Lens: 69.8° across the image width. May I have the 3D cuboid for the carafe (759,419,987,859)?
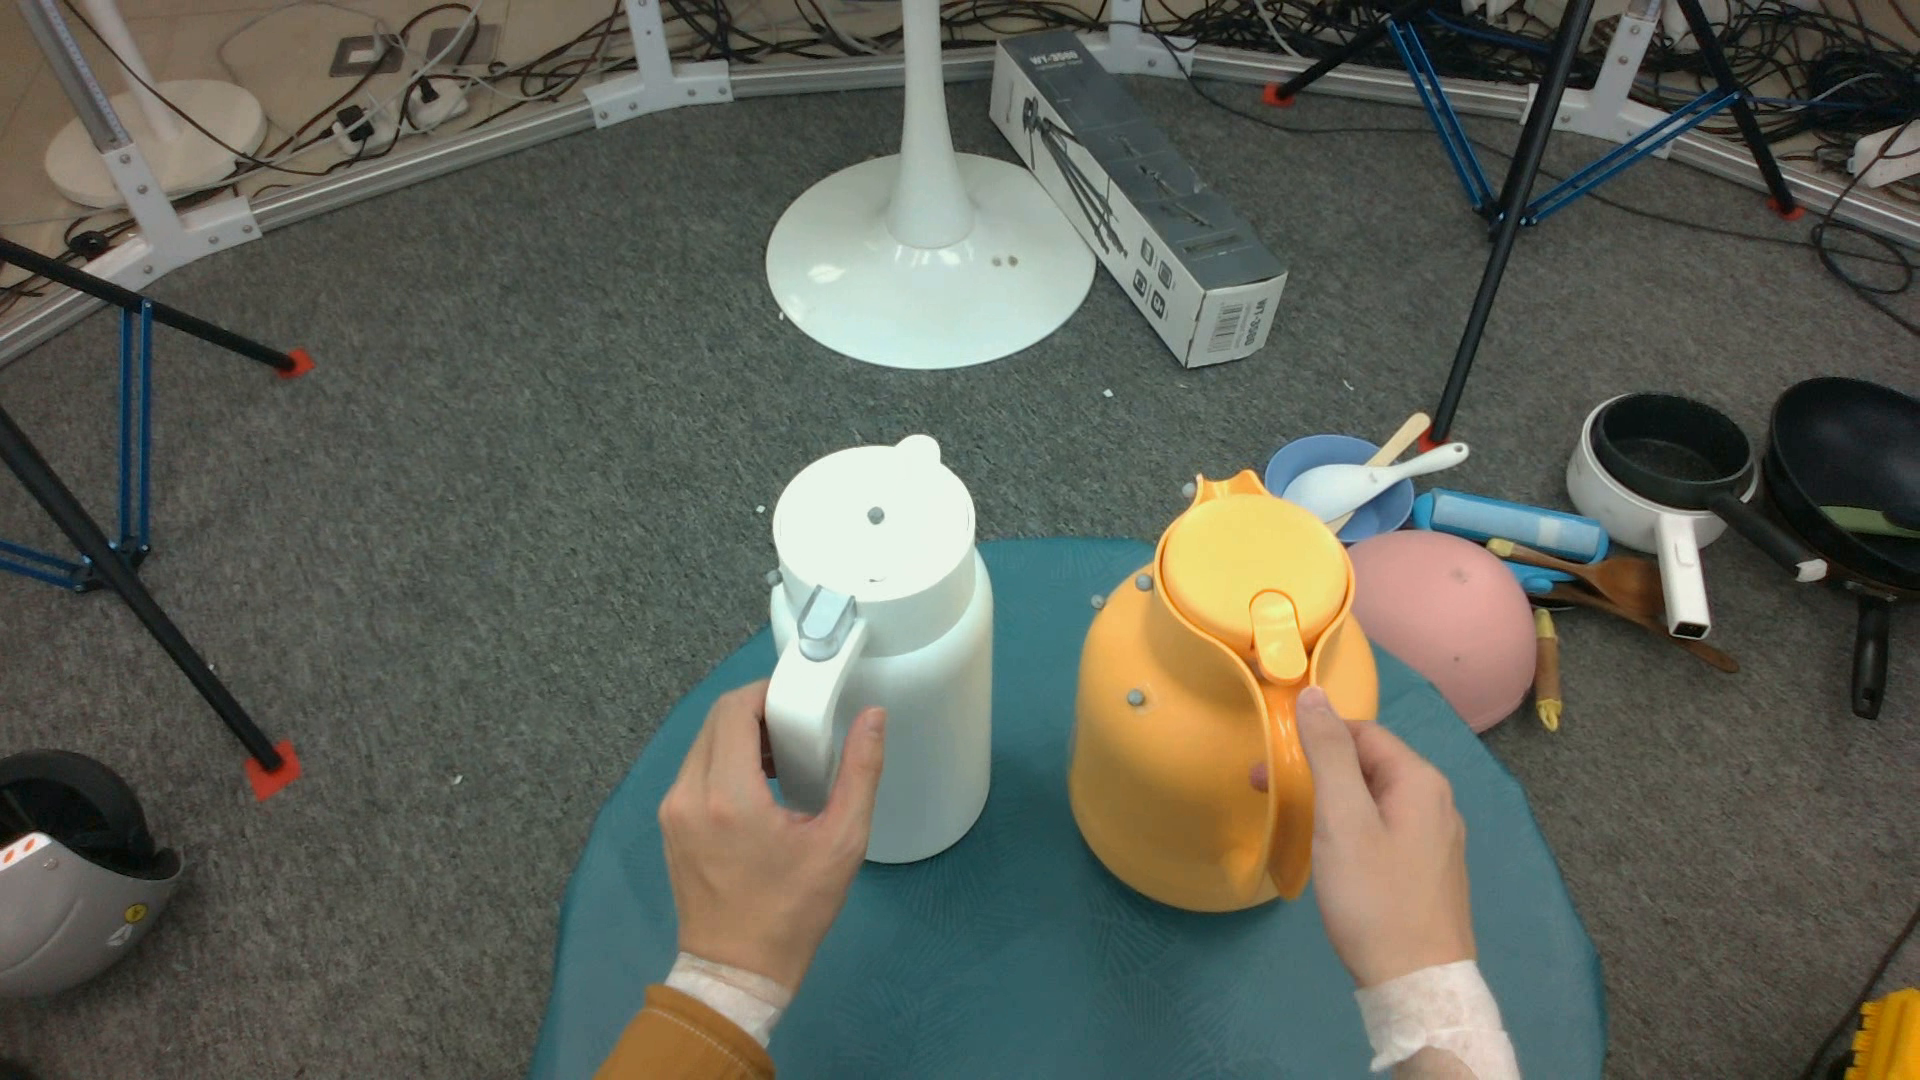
[{"bbox_3d":[-0.049,0.082,0.757,0.124,0.267,0.173,17,53,10],"label":"carafe"}]

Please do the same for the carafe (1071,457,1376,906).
[{"bbox_3d":[0.144,0.096,0.747,0.163,0.259,0.203,-5,50,1],"label":"carafe"}]
